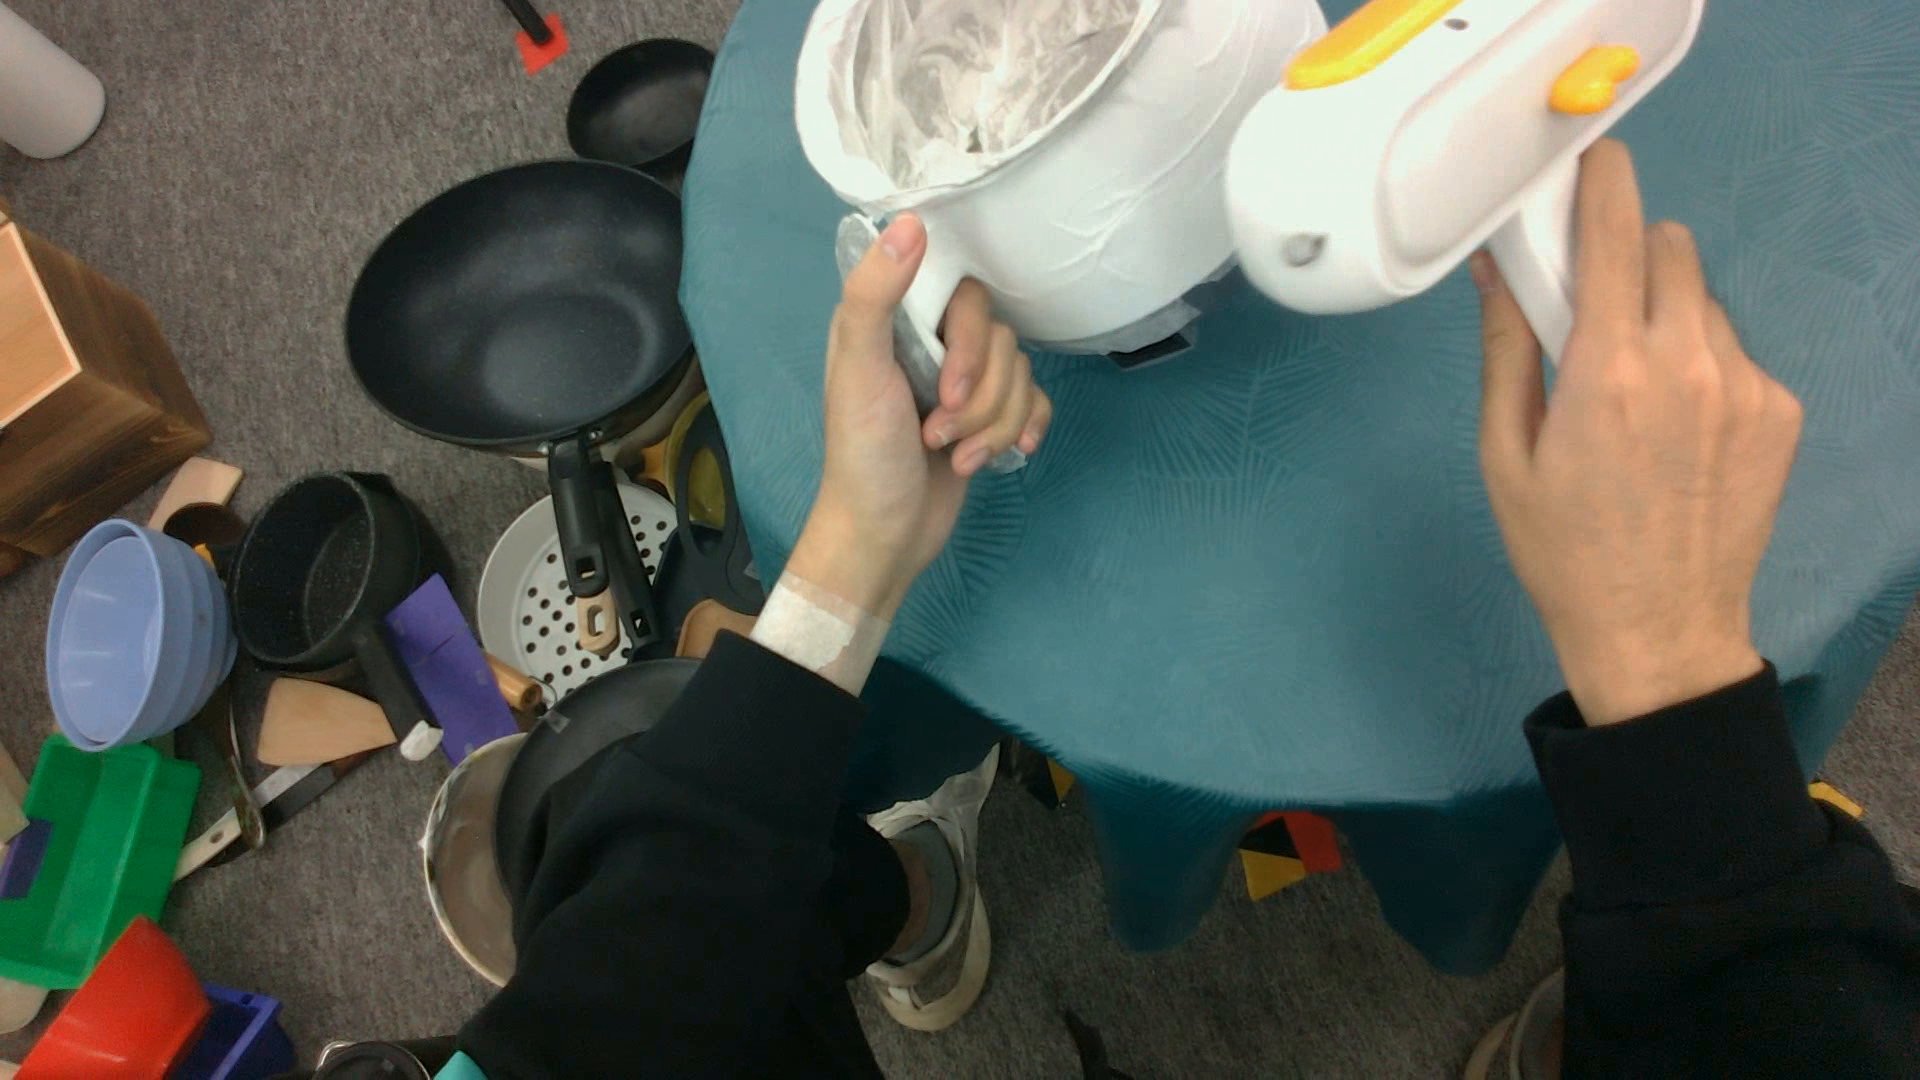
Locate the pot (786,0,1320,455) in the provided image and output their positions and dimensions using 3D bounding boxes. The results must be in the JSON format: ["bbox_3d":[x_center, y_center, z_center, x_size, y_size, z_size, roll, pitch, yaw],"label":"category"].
[{"bbox_3d":[0.029,-0.154,0.527,0.178,0.136,0.234,19,79,45],"label":"pot"}]

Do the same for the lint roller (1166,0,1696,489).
[{"bbox_3d":[0.173,-0.095,0.436,0.193,0.192,0.074,-47,28,-21],"label":"lint roller"}]
